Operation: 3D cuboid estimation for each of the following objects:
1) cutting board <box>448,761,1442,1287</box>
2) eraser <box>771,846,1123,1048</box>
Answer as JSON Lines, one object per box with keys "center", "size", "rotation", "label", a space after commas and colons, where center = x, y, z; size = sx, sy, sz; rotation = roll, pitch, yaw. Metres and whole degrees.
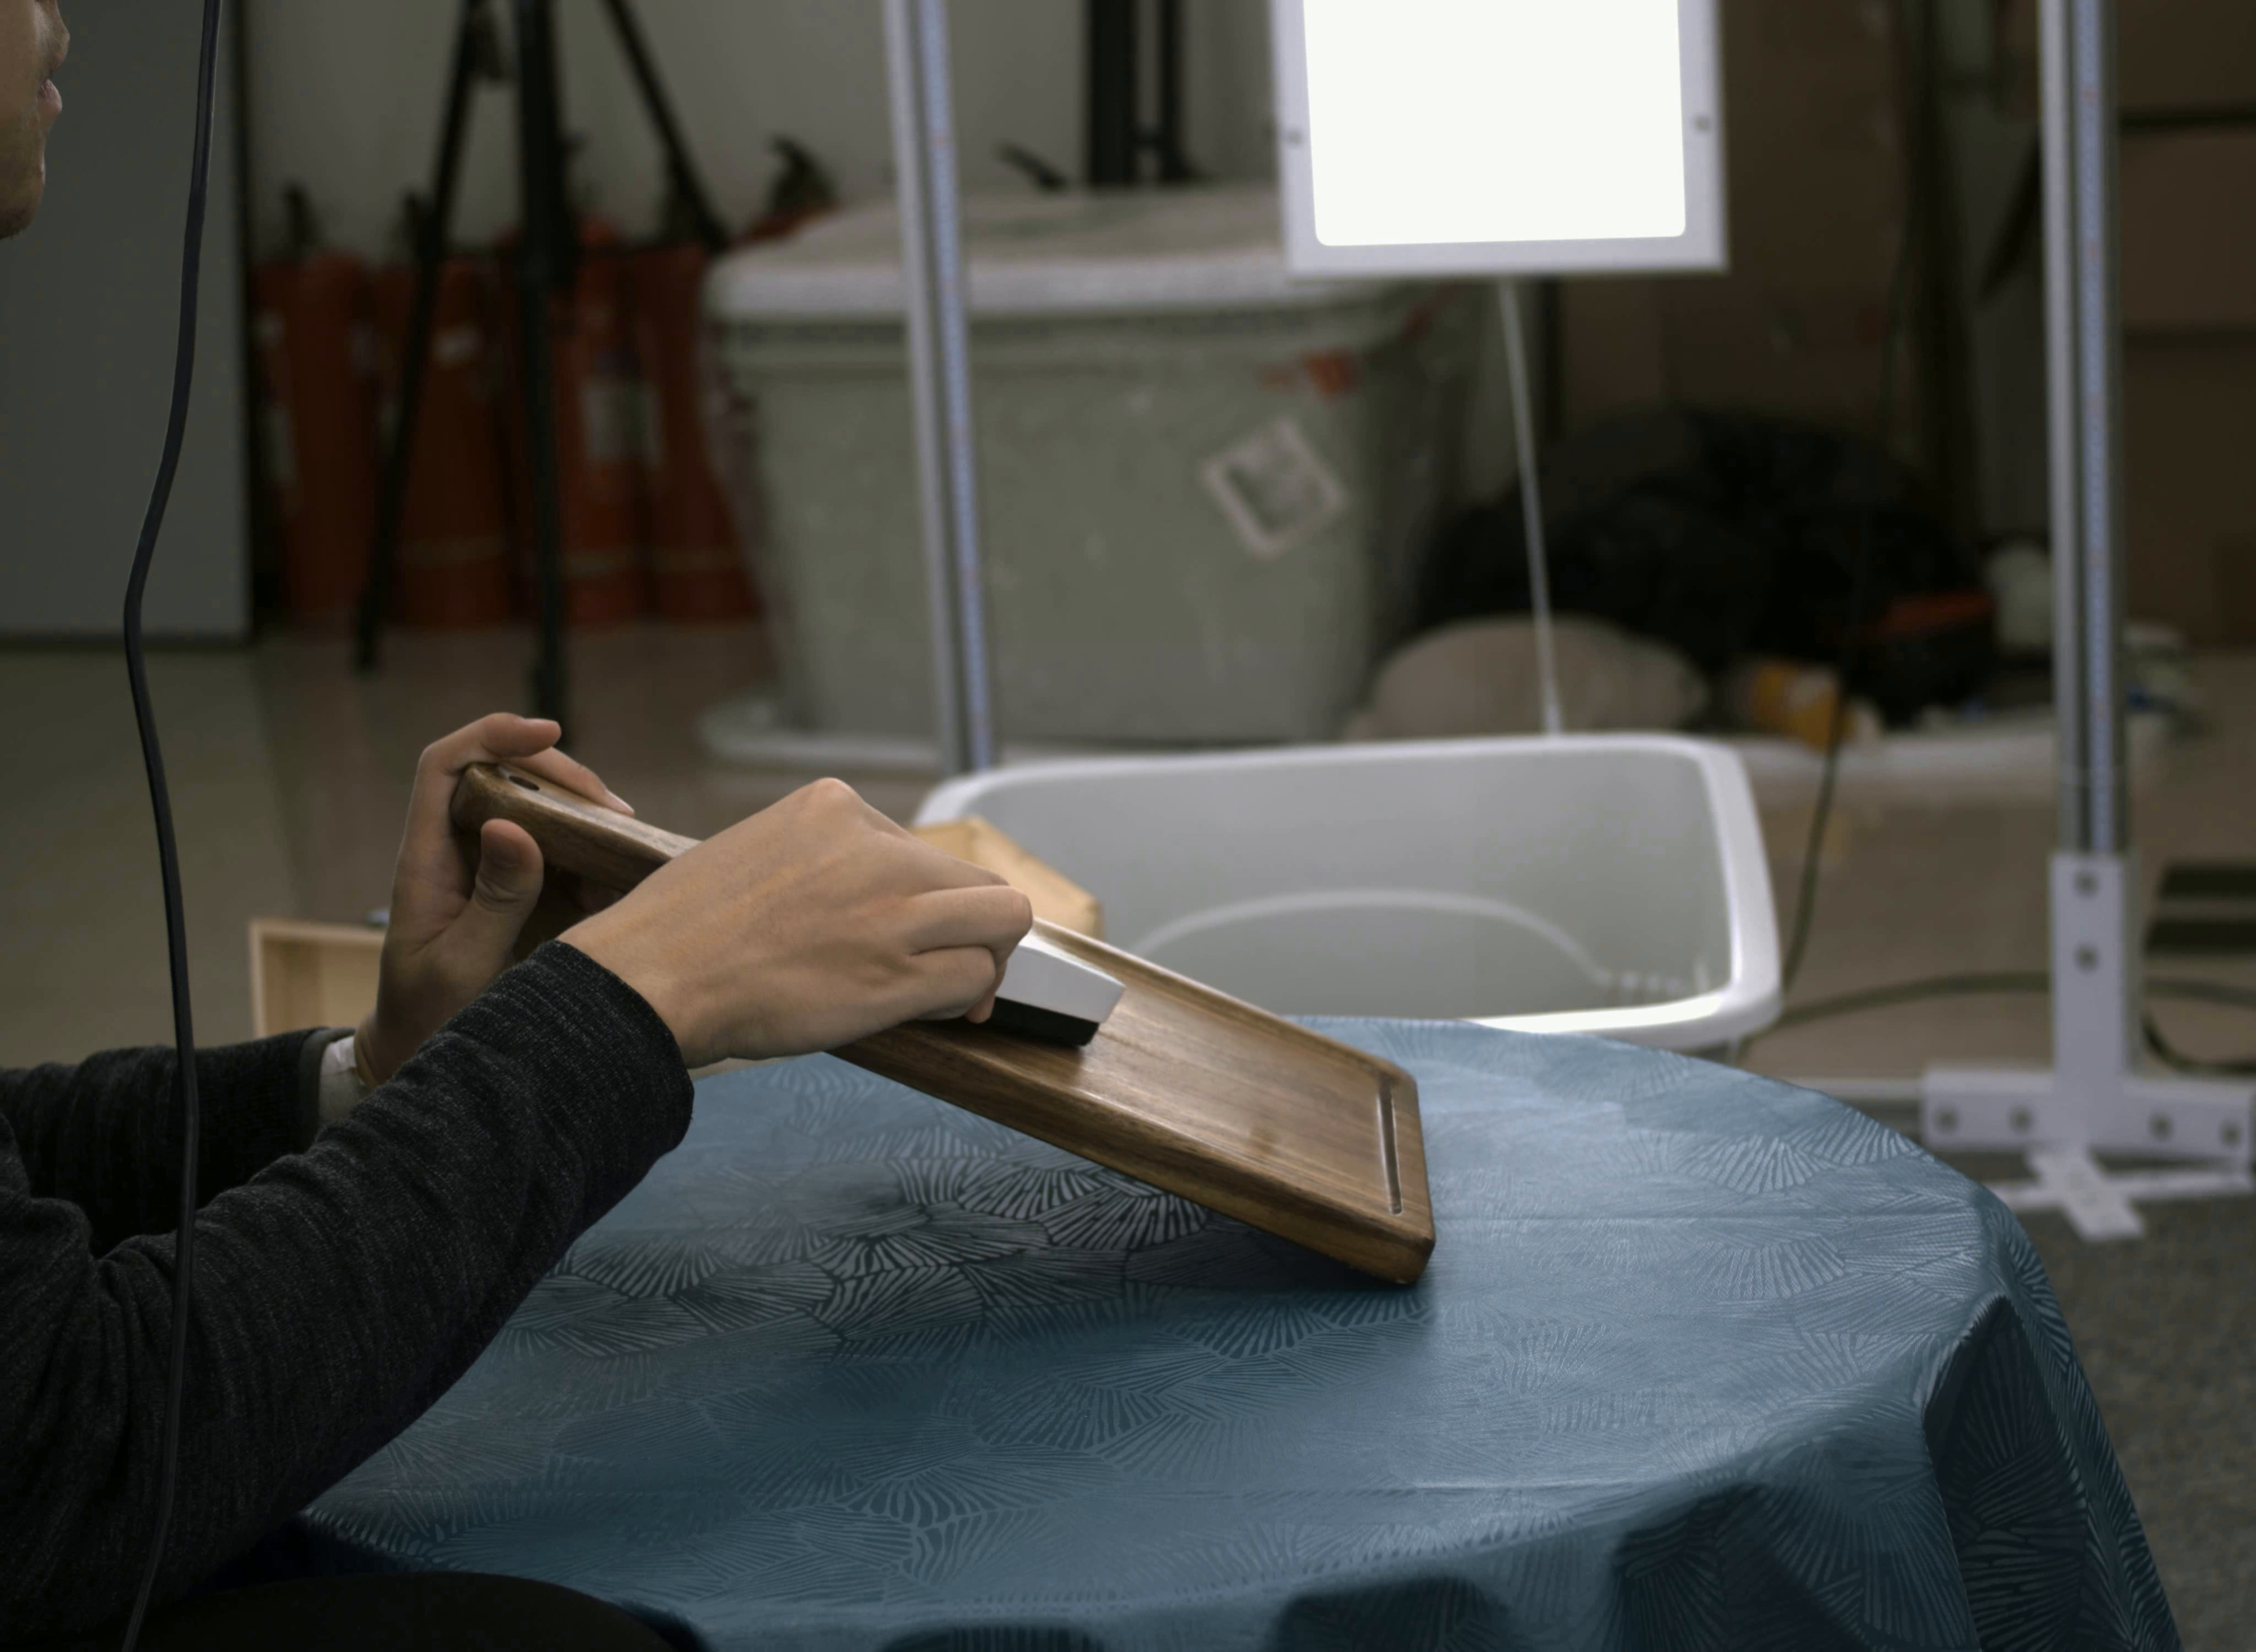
{"center": [-0.062, 0.053, 1.853], "size": [0.350, 0.023, 0.200], "rotation": [22, 13, -3], "label": "cutting board"}
{"center": [-0.059, 0.038, 1.801], "size": [0.064, 0.035, 0.128], "rotation": [33, 9, 39], "label": "eraser"}
